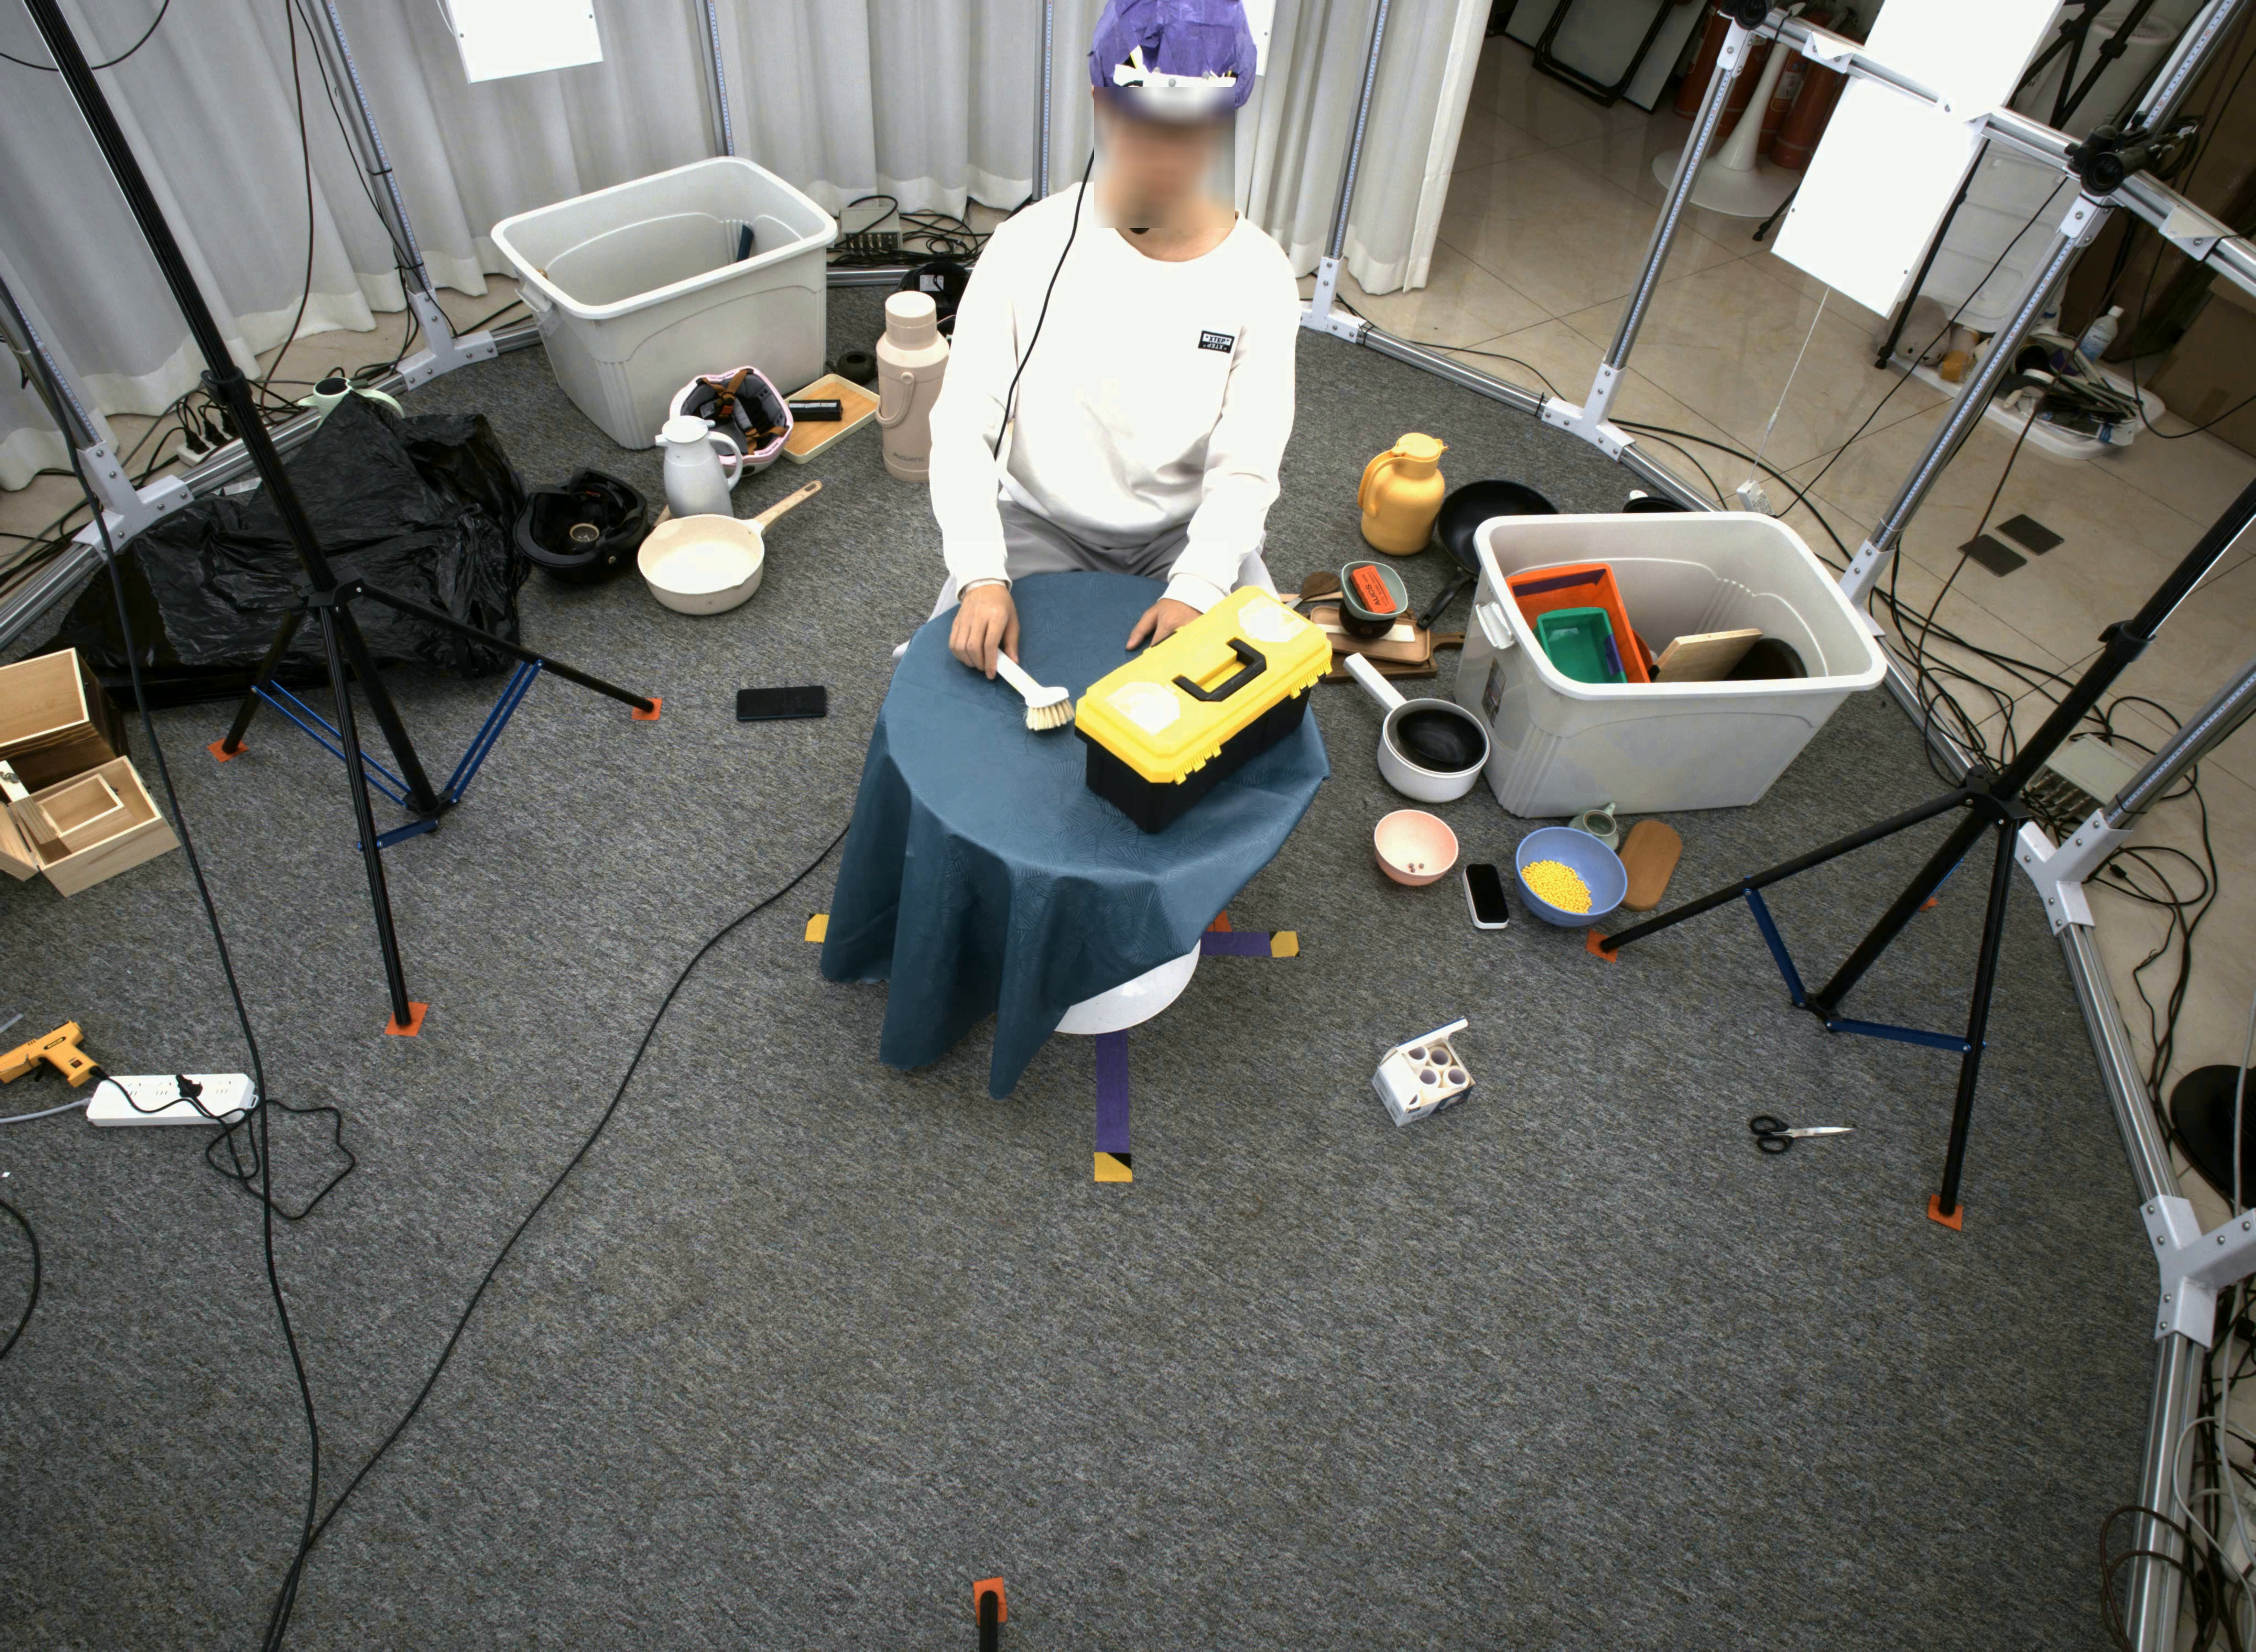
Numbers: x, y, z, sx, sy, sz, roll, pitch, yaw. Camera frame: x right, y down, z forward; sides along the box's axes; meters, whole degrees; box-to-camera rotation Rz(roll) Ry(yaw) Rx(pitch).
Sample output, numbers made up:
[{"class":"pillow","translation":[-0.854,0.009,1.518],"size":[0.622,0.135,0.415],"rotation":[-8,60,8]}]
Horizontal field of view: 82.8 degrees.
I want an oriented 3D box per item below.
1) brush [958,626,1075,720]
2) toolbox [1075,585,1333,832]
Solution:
[{"class":"brush","translation":[-0.165,-0.214,1.829],"size":[0.068,0.055,0.271],"rotation":[-12,33,-37]},{"class":"toolbox","translation":[0.098,-0.157,1.696],"size":[0.184,0.169,0.355],"rotation":[39,56,24]}]
